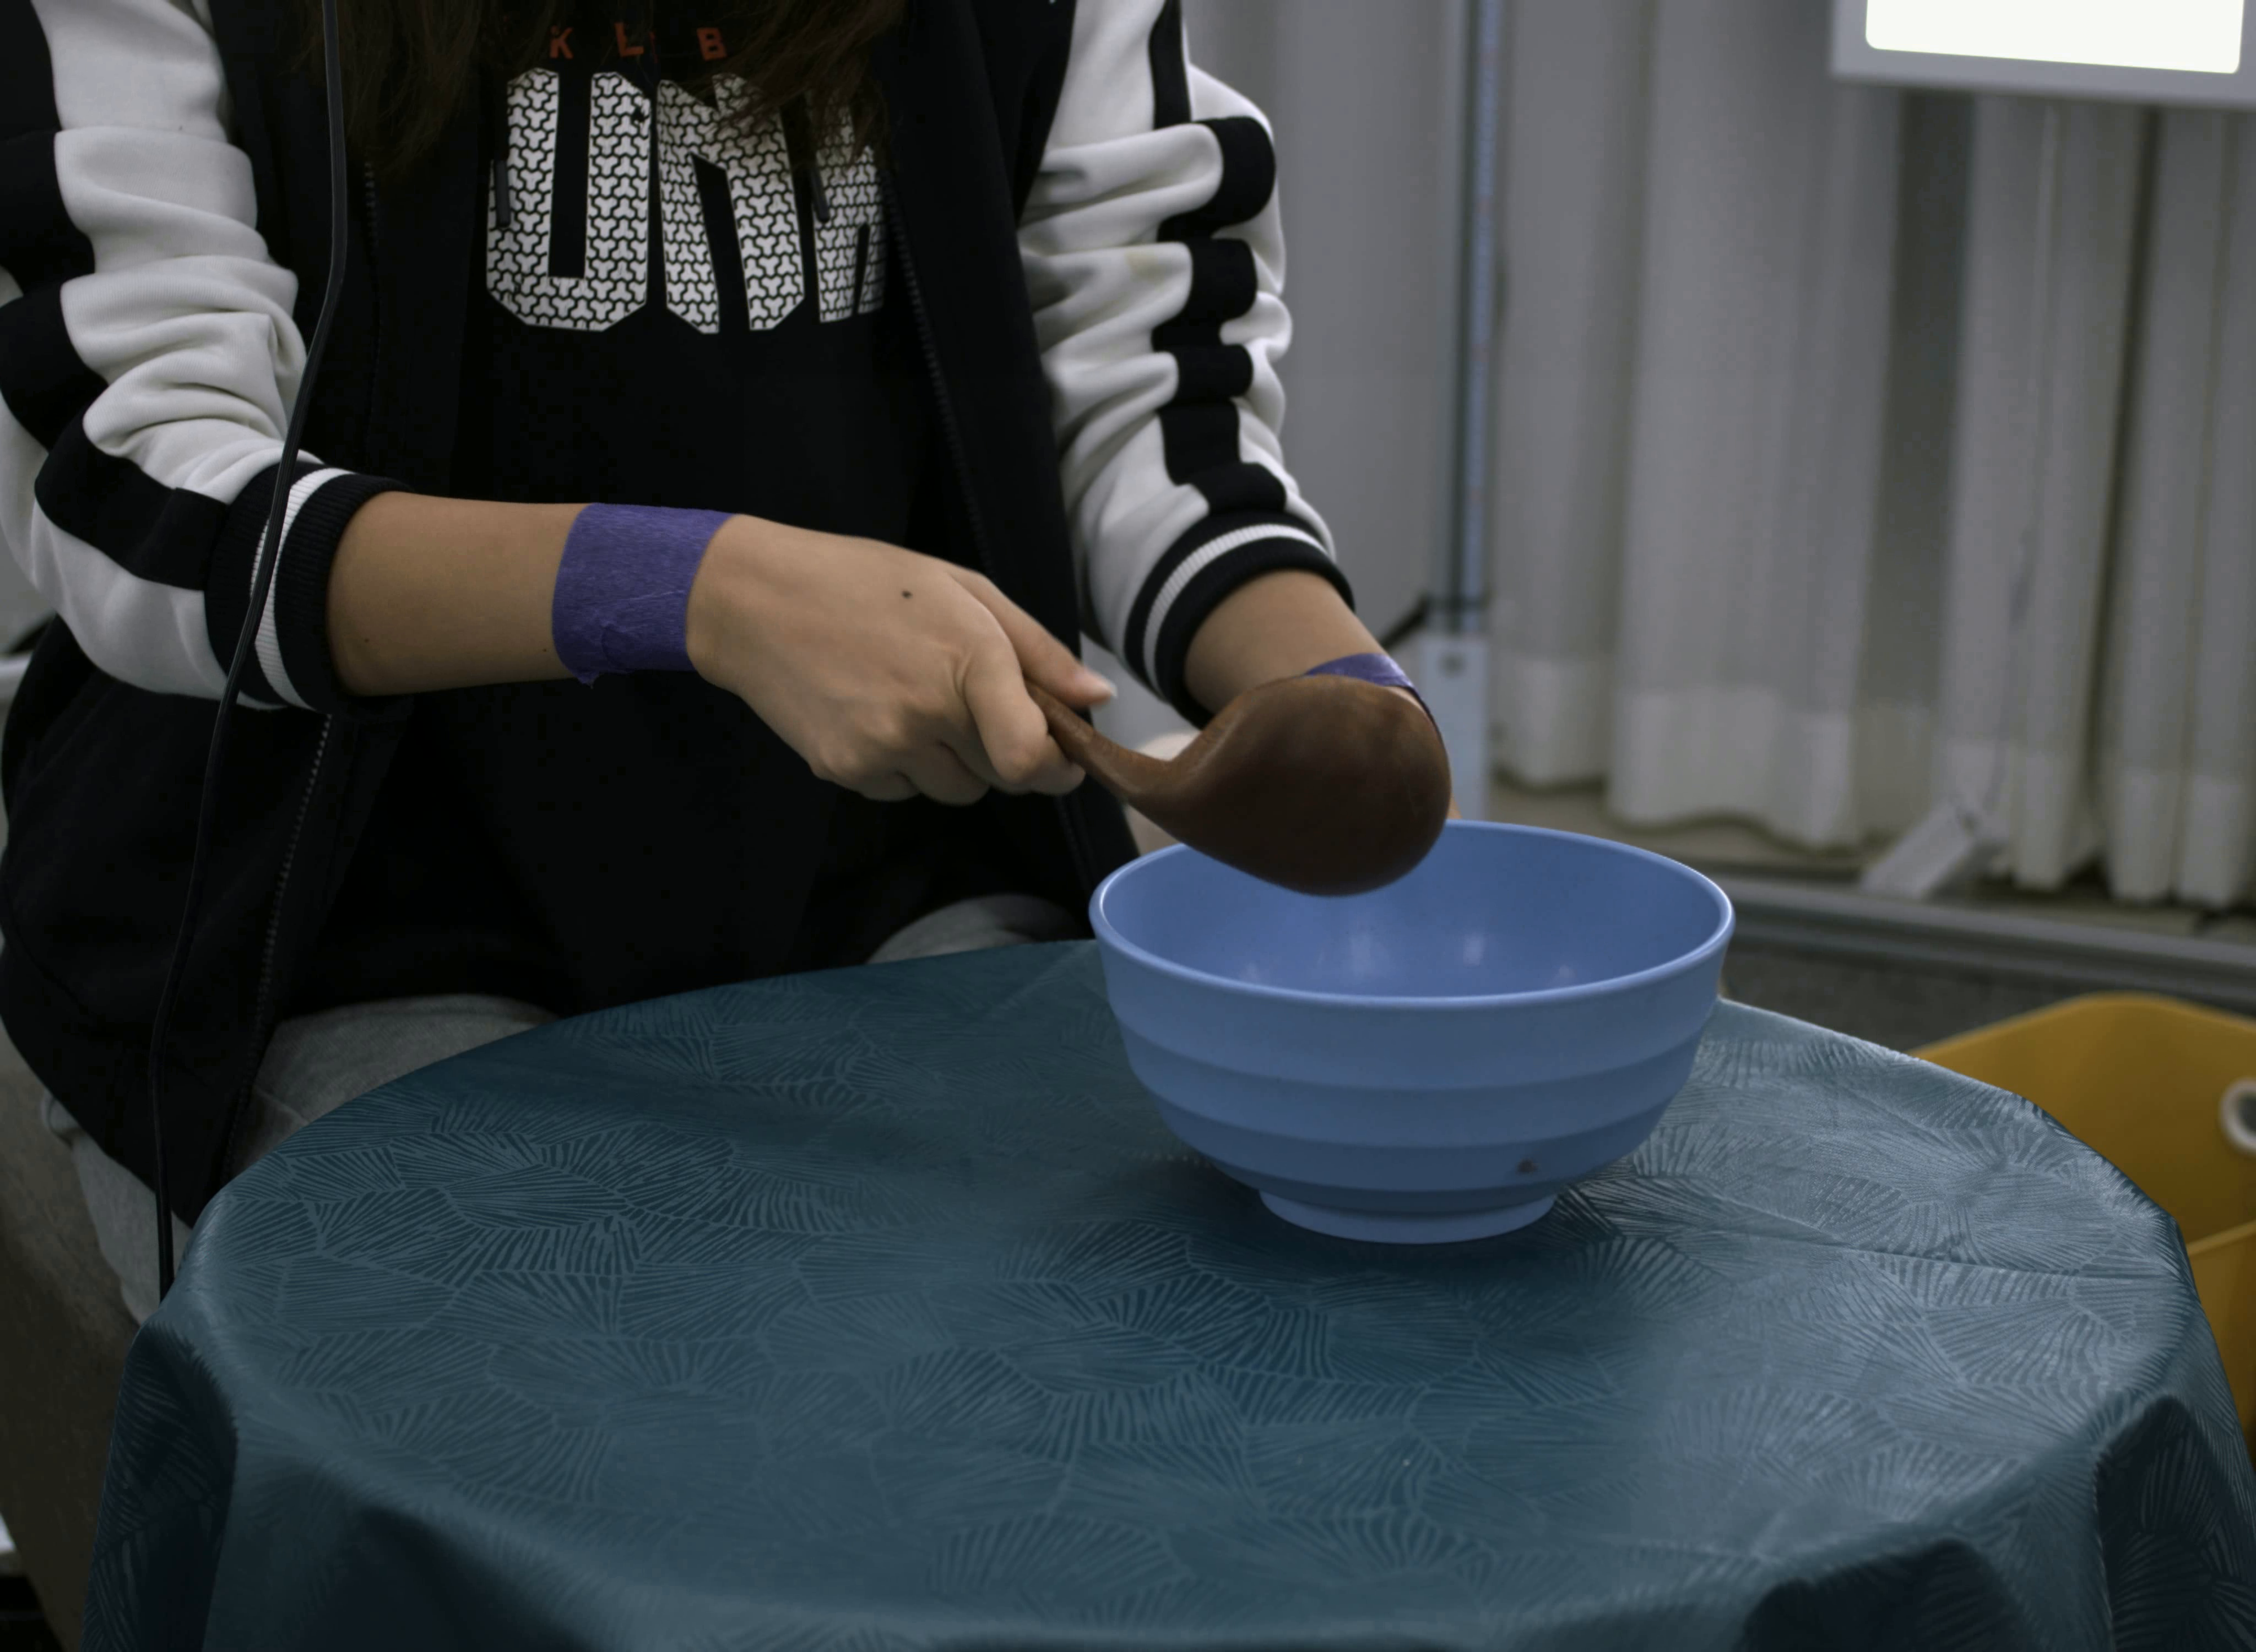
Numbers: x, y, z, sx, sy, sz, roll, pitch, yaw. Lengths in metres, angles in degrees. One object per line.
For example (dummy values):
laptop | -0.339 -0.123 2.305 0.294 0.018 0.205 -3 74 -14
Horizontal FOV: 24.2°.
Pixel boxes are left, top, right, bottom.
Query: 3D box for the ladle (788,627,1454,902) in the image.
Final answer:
ladle | -0.005 -0.034 1.610 0.065 0.077 0.256 -33 33 -29

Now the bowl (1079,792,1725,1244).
bowl | 0.085 0.066 1.615 0.196 0.096 0.195 -2 21 1
